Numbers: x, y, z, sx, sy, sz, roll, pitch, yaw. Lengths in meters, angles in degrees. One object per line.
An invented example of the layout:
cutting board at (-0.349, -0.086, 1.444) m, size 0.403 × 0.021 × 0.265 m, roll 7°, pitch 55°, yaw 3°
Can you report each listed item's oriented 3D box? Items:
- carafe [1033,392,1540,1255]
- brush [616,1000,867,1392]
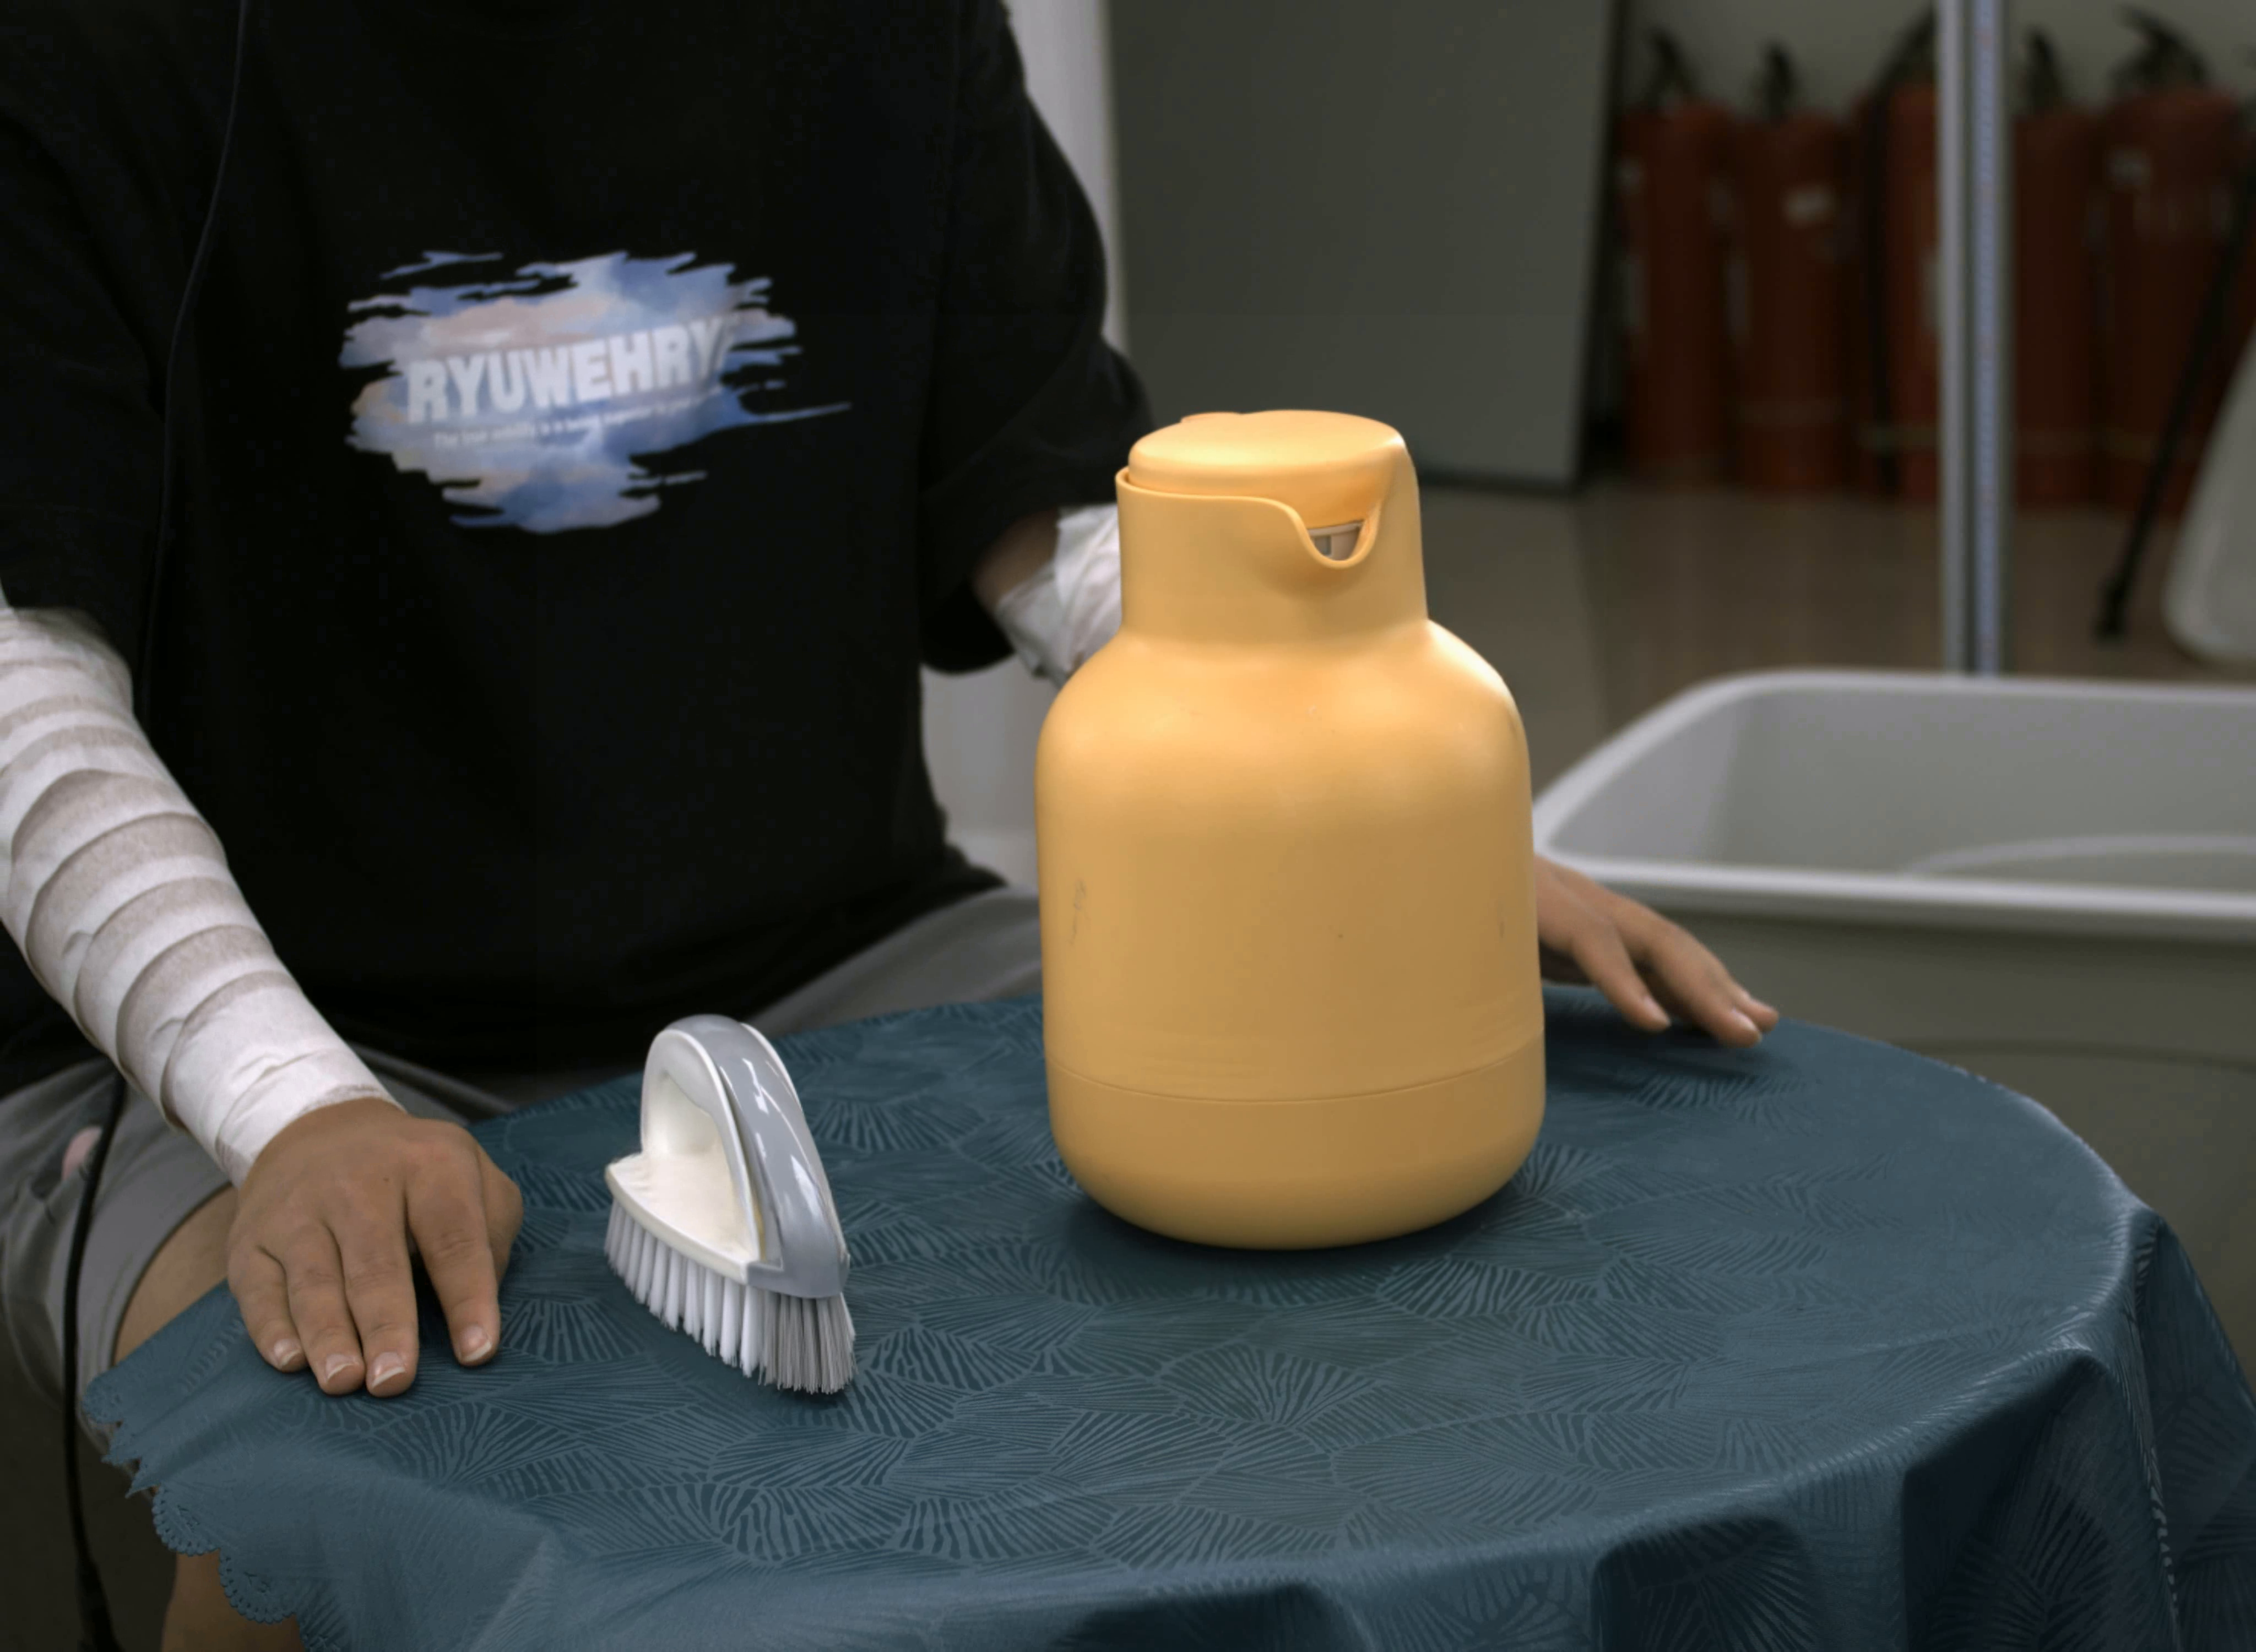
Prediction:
carafe at (0.046, -0.009, 1.743) m, size 0.160 × 0.263 × 0.204 m, roll -5°, pitch 14°, yaw -12°
brush at (-0.115, 0.109, 1.662) m, size 0.060 × 0.095 × 0.177 m, roll -9°, pitch 16°, yaw -17°
